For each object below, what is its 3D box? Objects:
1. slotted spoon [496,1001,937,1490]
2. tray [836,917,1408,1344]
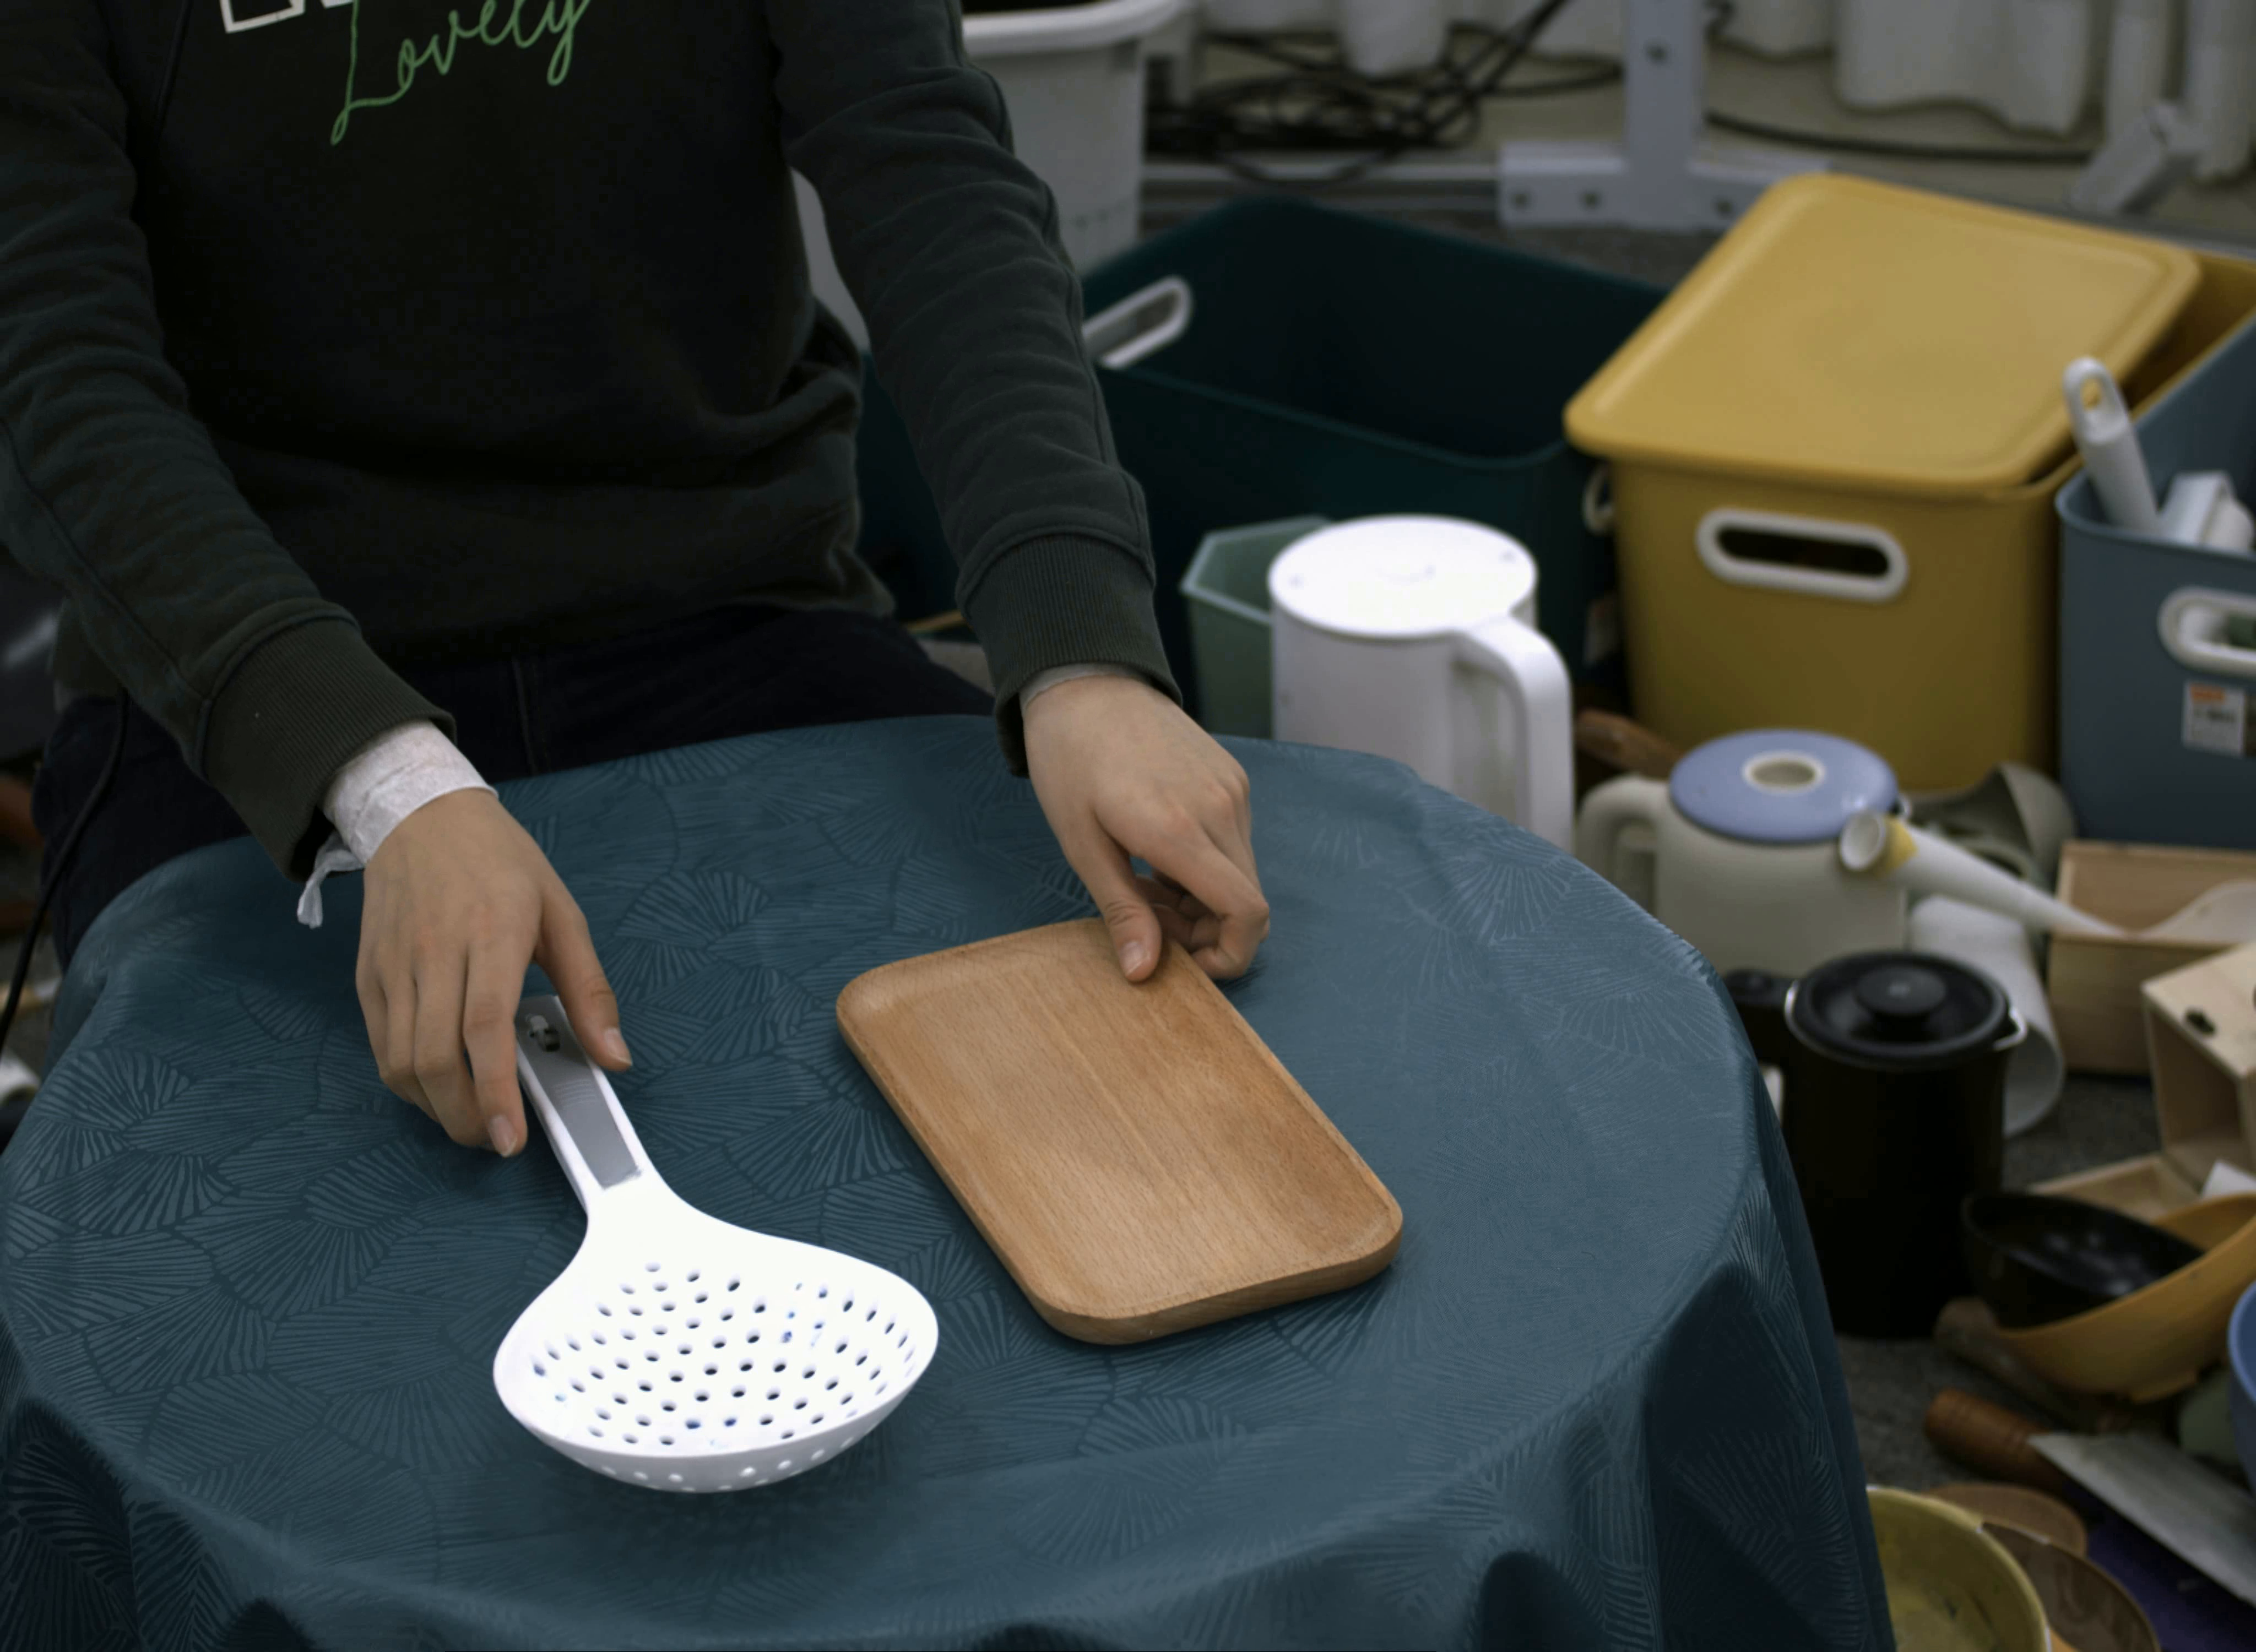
[{"bbox_3d":[-0.158,0.129,1.814,0.136,0.045,0.353,-8,27,-15],"label":"slotted spoon"},{"bbox_3d":[-0.006,0.099,1.887,0.131,0.022,0.252,-10,27,-18],"label":"tray"}]
